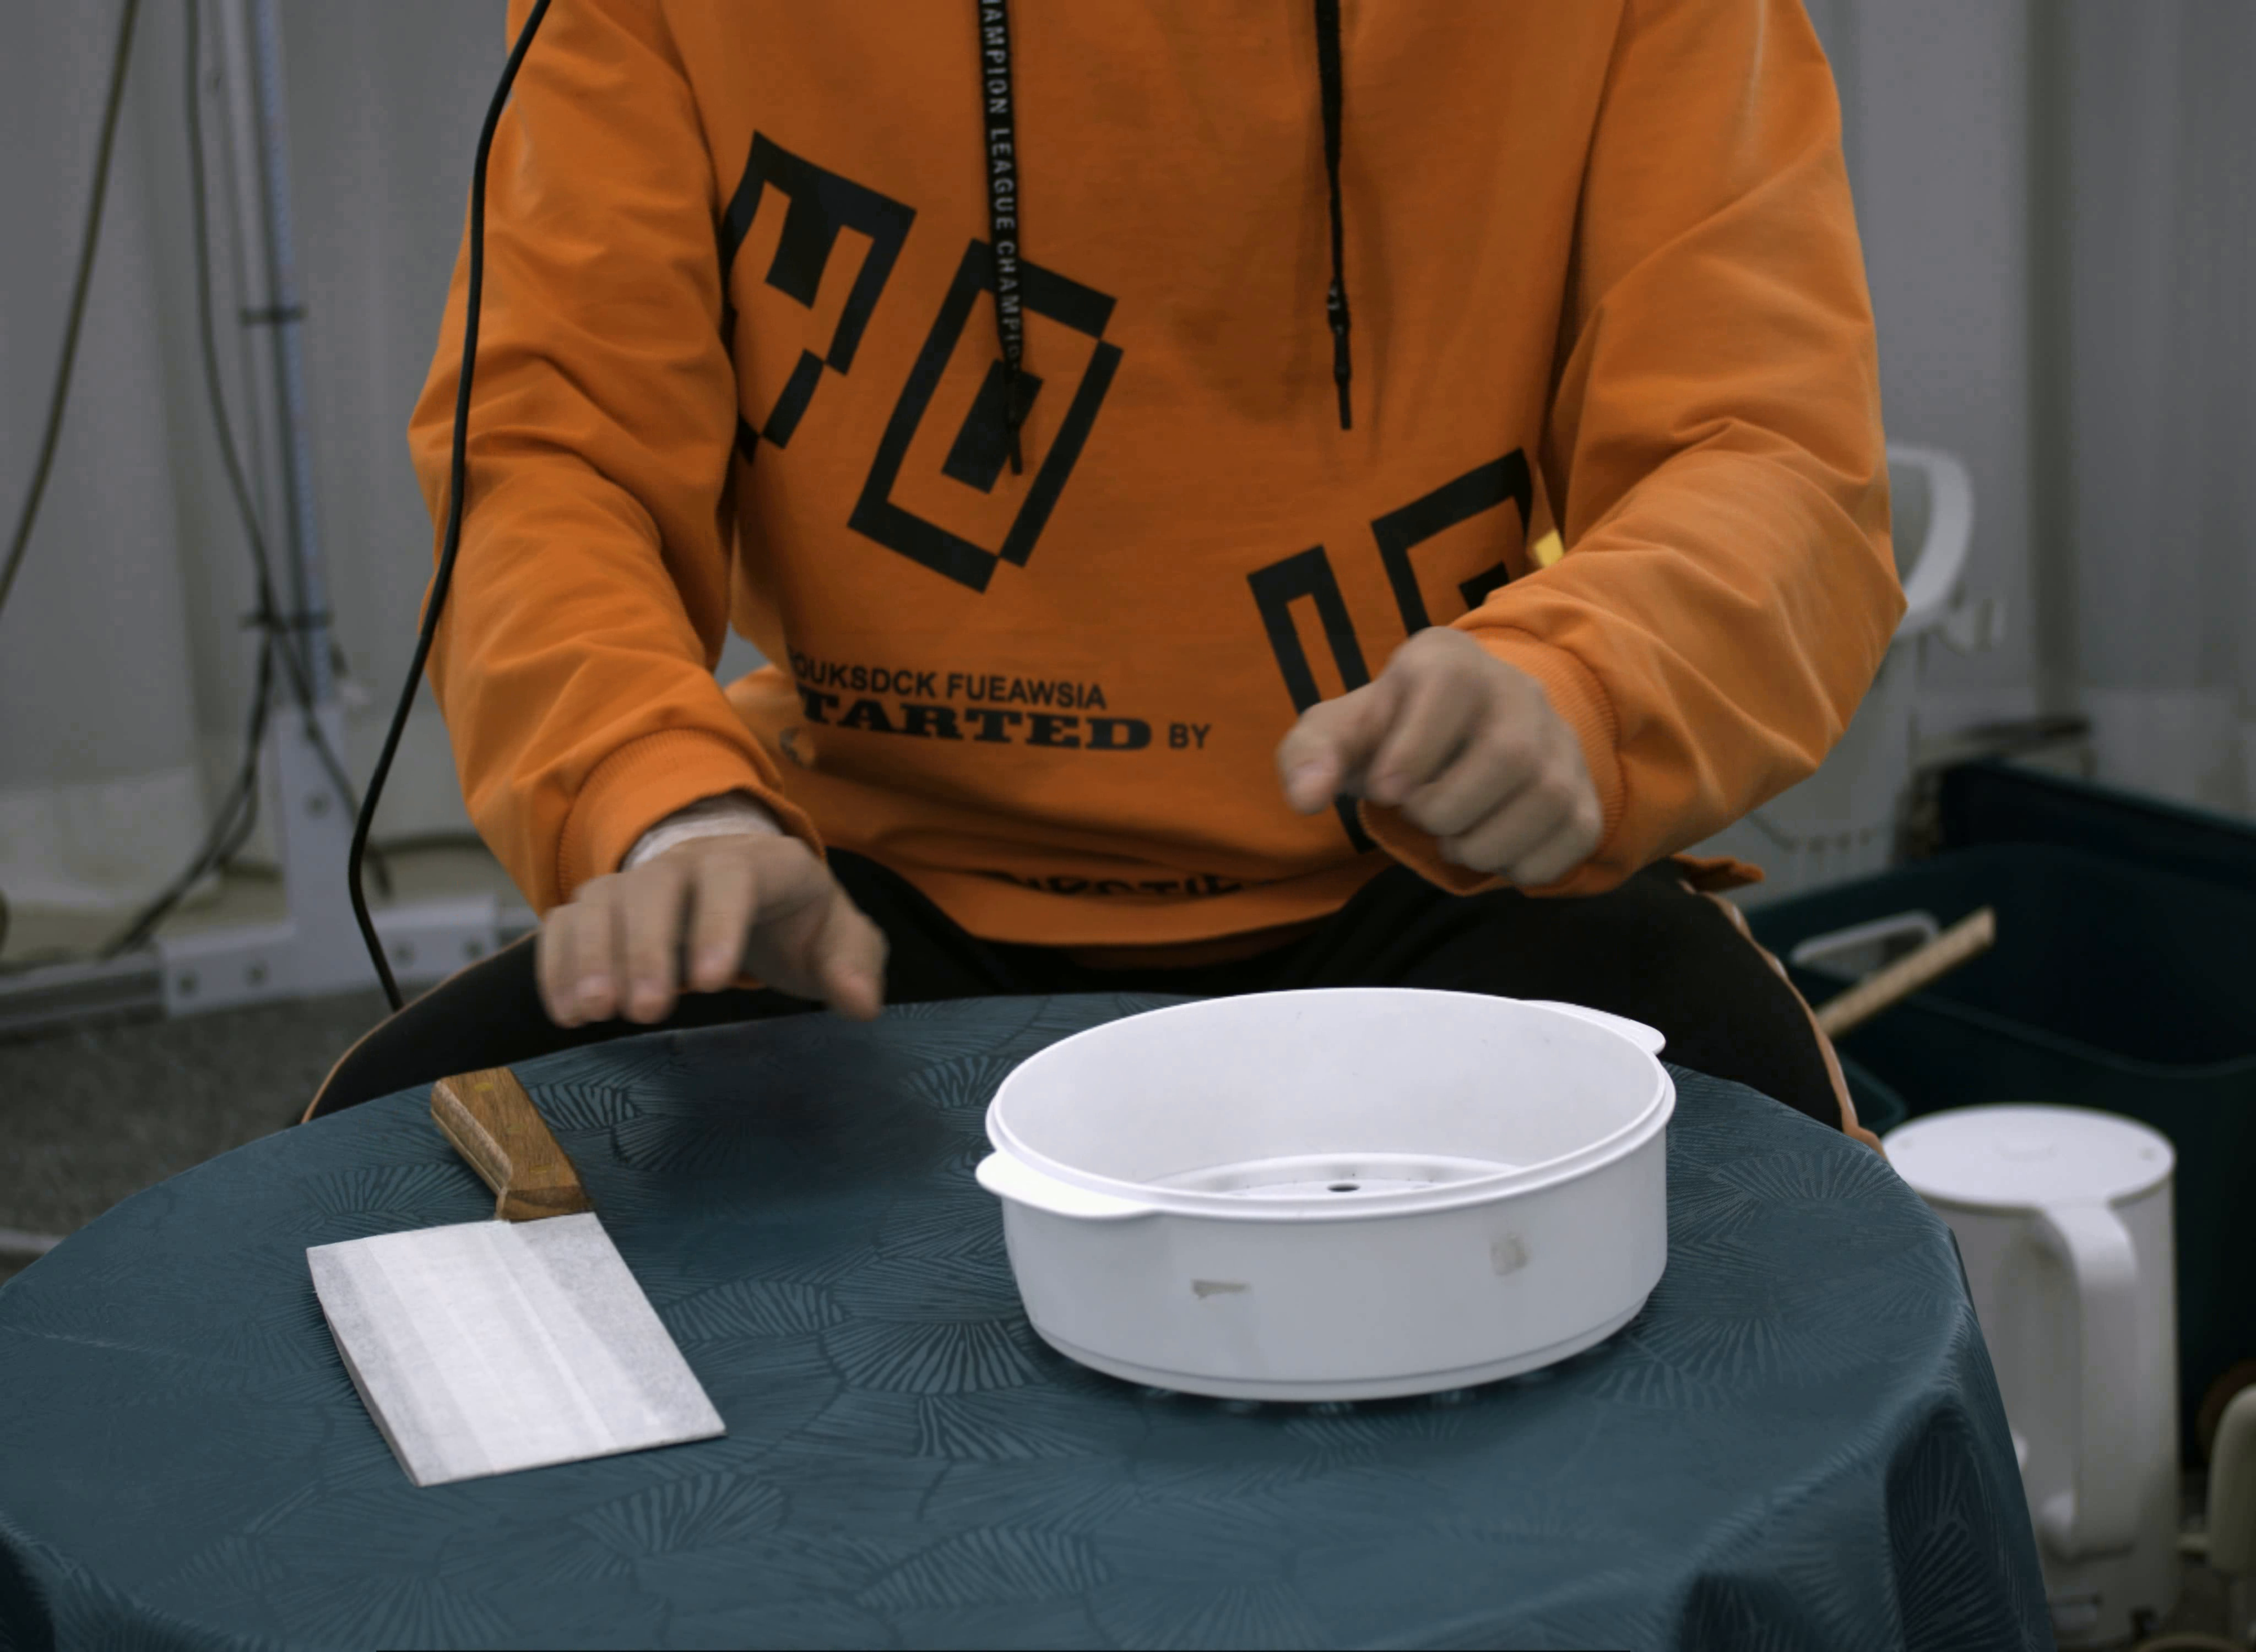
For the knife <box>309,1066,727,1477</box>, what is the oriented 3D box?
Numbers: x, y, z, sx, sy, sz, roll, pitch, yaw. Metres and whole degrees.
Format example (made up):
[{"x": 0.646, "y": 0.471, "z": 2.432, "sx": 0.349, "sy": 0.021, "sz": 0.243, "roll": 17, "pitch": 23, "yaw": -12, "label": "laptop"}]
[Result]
[{"x": -0.197, "y": 0.134, "z": 1.654, "sx": 0.092, "sy": 0.021, "sz": 0.308, "roll": -9, "pitch": 18, "yaw": -15, "label": "knife"}]

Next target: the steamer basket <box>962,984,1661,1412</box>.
[{"x": 0.056, "y": 0.108, "z": 1.594, "sx": 0.230, "sy": 0.069, "sz": 0.203, "roll": -17, "pitch": 20, "yaw": -36, "label": "steamer basket"}]
